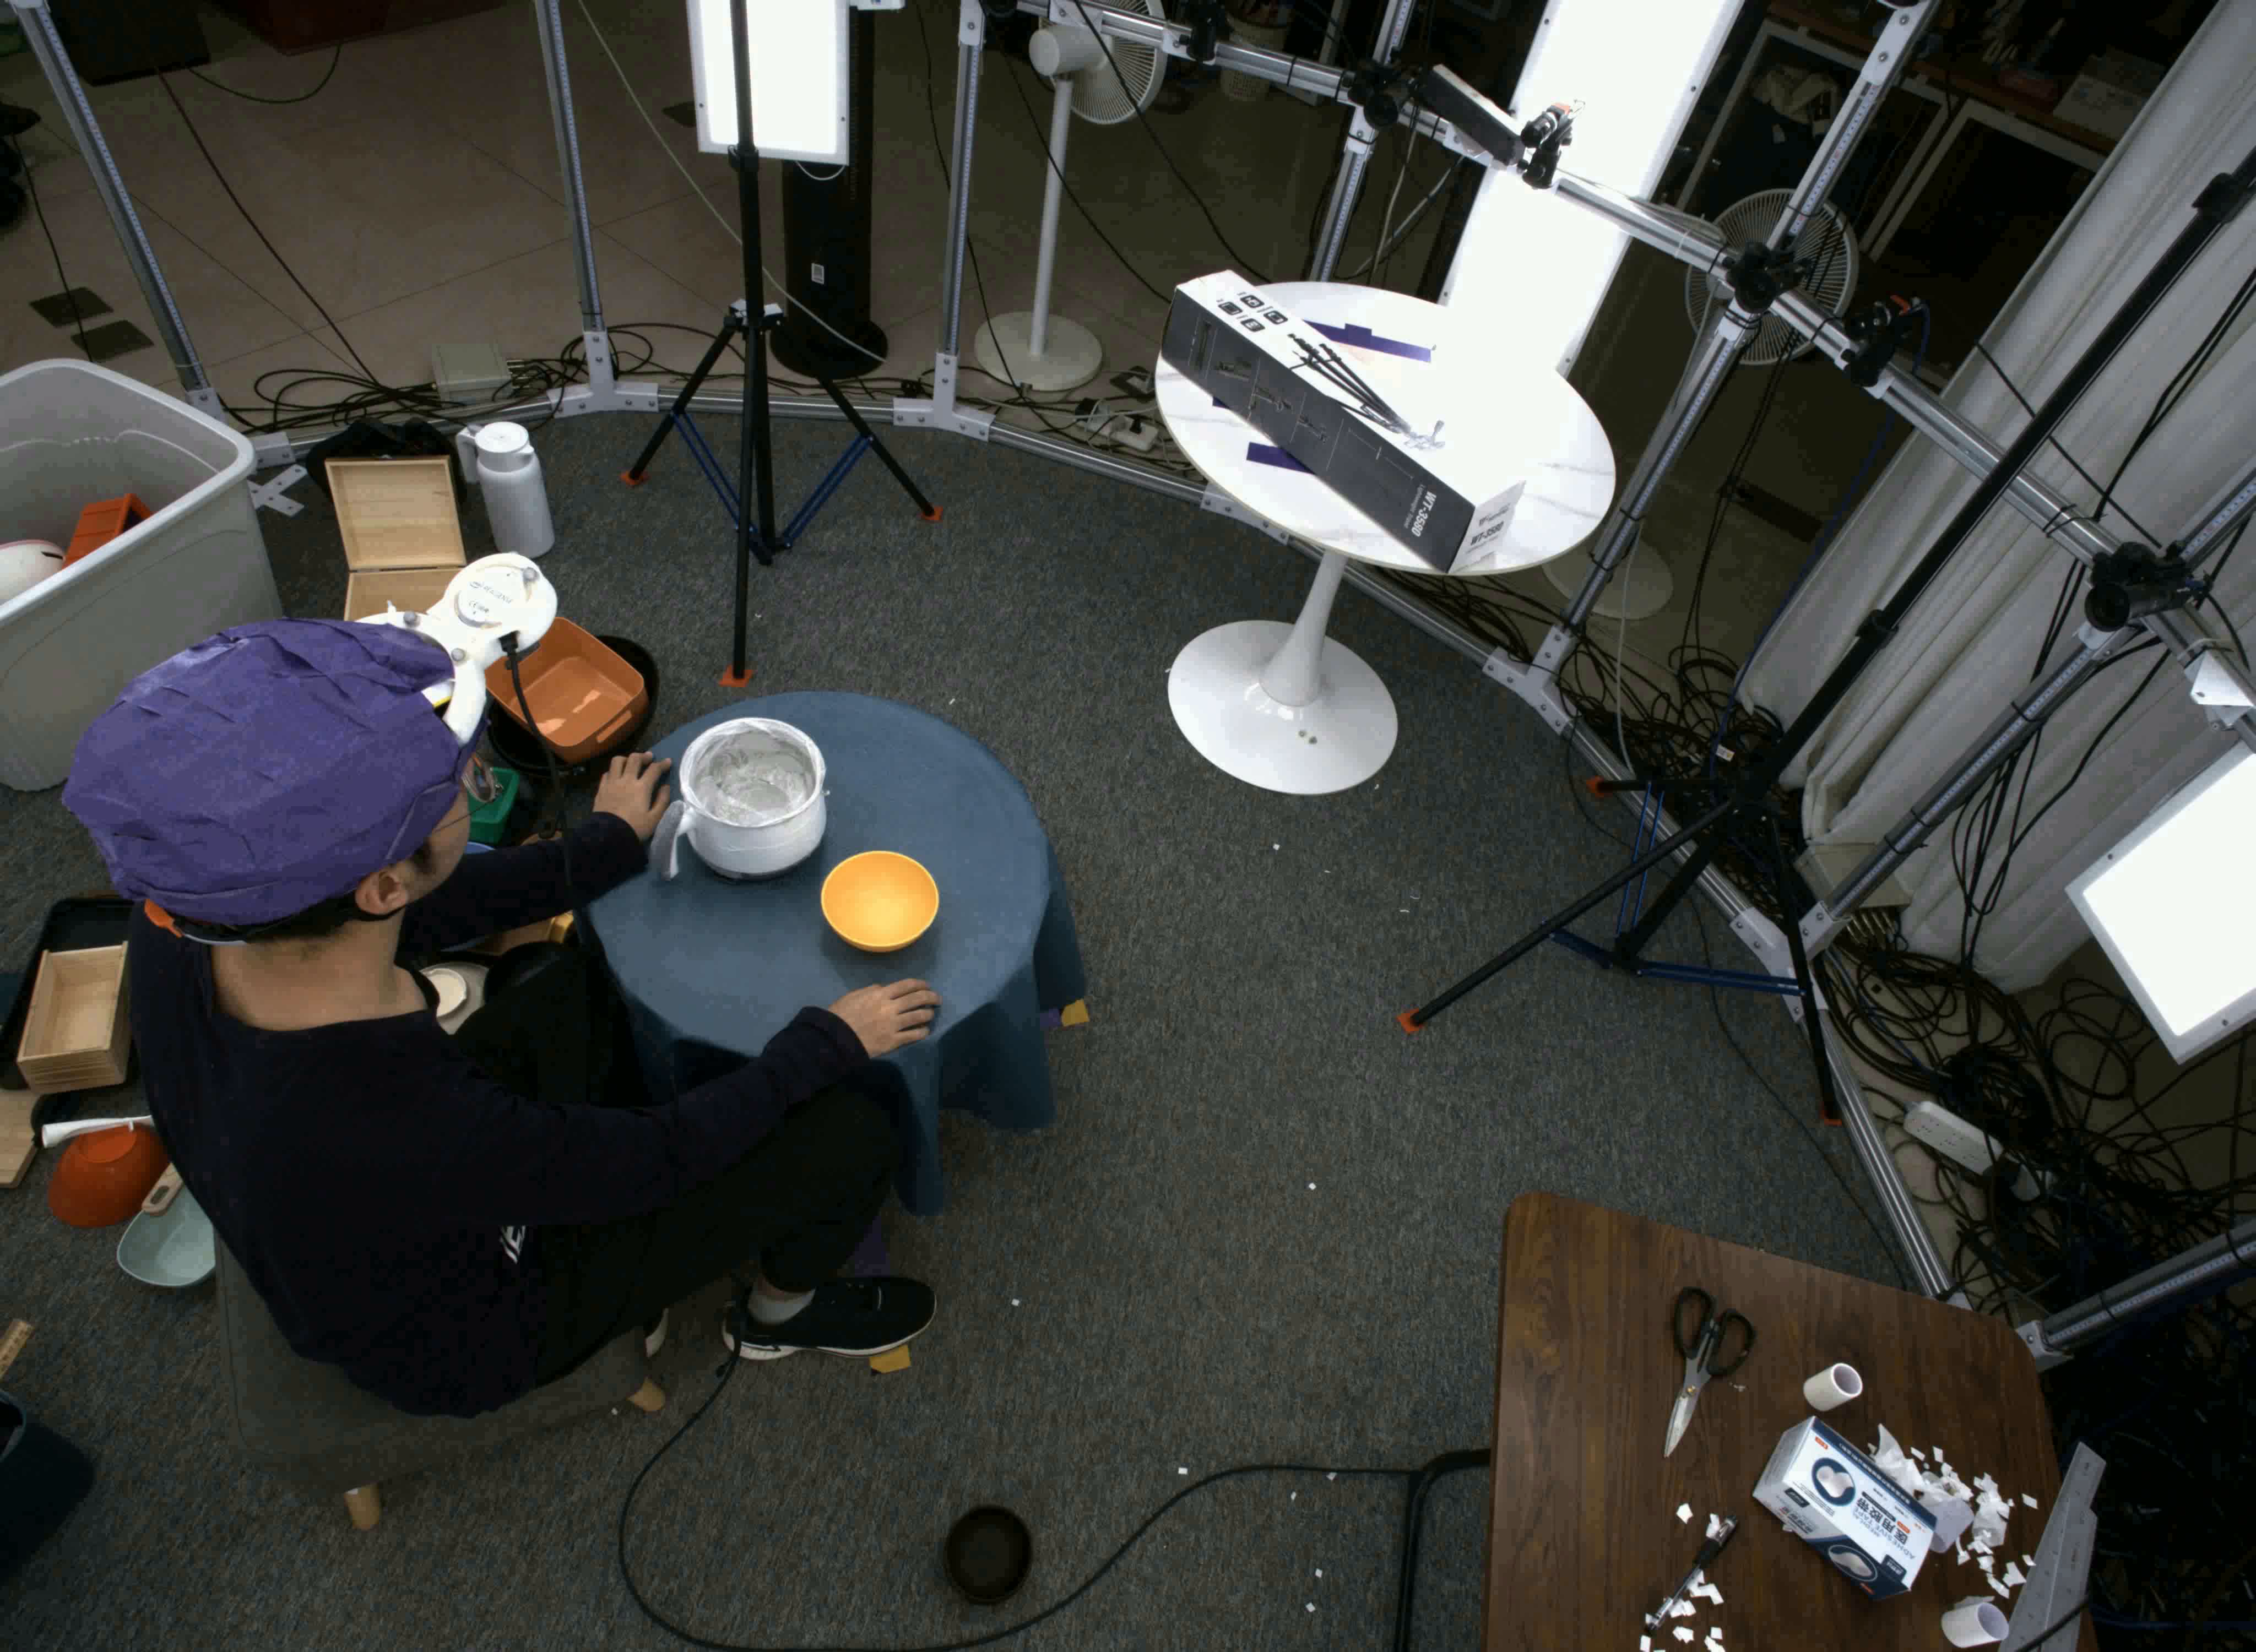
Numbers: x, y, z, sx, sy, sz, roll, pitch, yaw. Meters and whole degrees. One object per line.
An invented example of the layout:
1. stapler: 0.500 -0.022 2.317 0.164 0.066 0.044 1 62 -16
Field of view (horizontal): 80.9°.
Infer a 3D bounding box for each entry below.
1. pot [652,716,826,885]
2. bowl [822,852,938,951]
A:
1. pot: -0.499 -0.019 1.644 0.234 0.139 0.174 -33 66 -30
2. bowl: -0.313 0.105 1.645 0.145 0.061 0.142 8 50 -8
